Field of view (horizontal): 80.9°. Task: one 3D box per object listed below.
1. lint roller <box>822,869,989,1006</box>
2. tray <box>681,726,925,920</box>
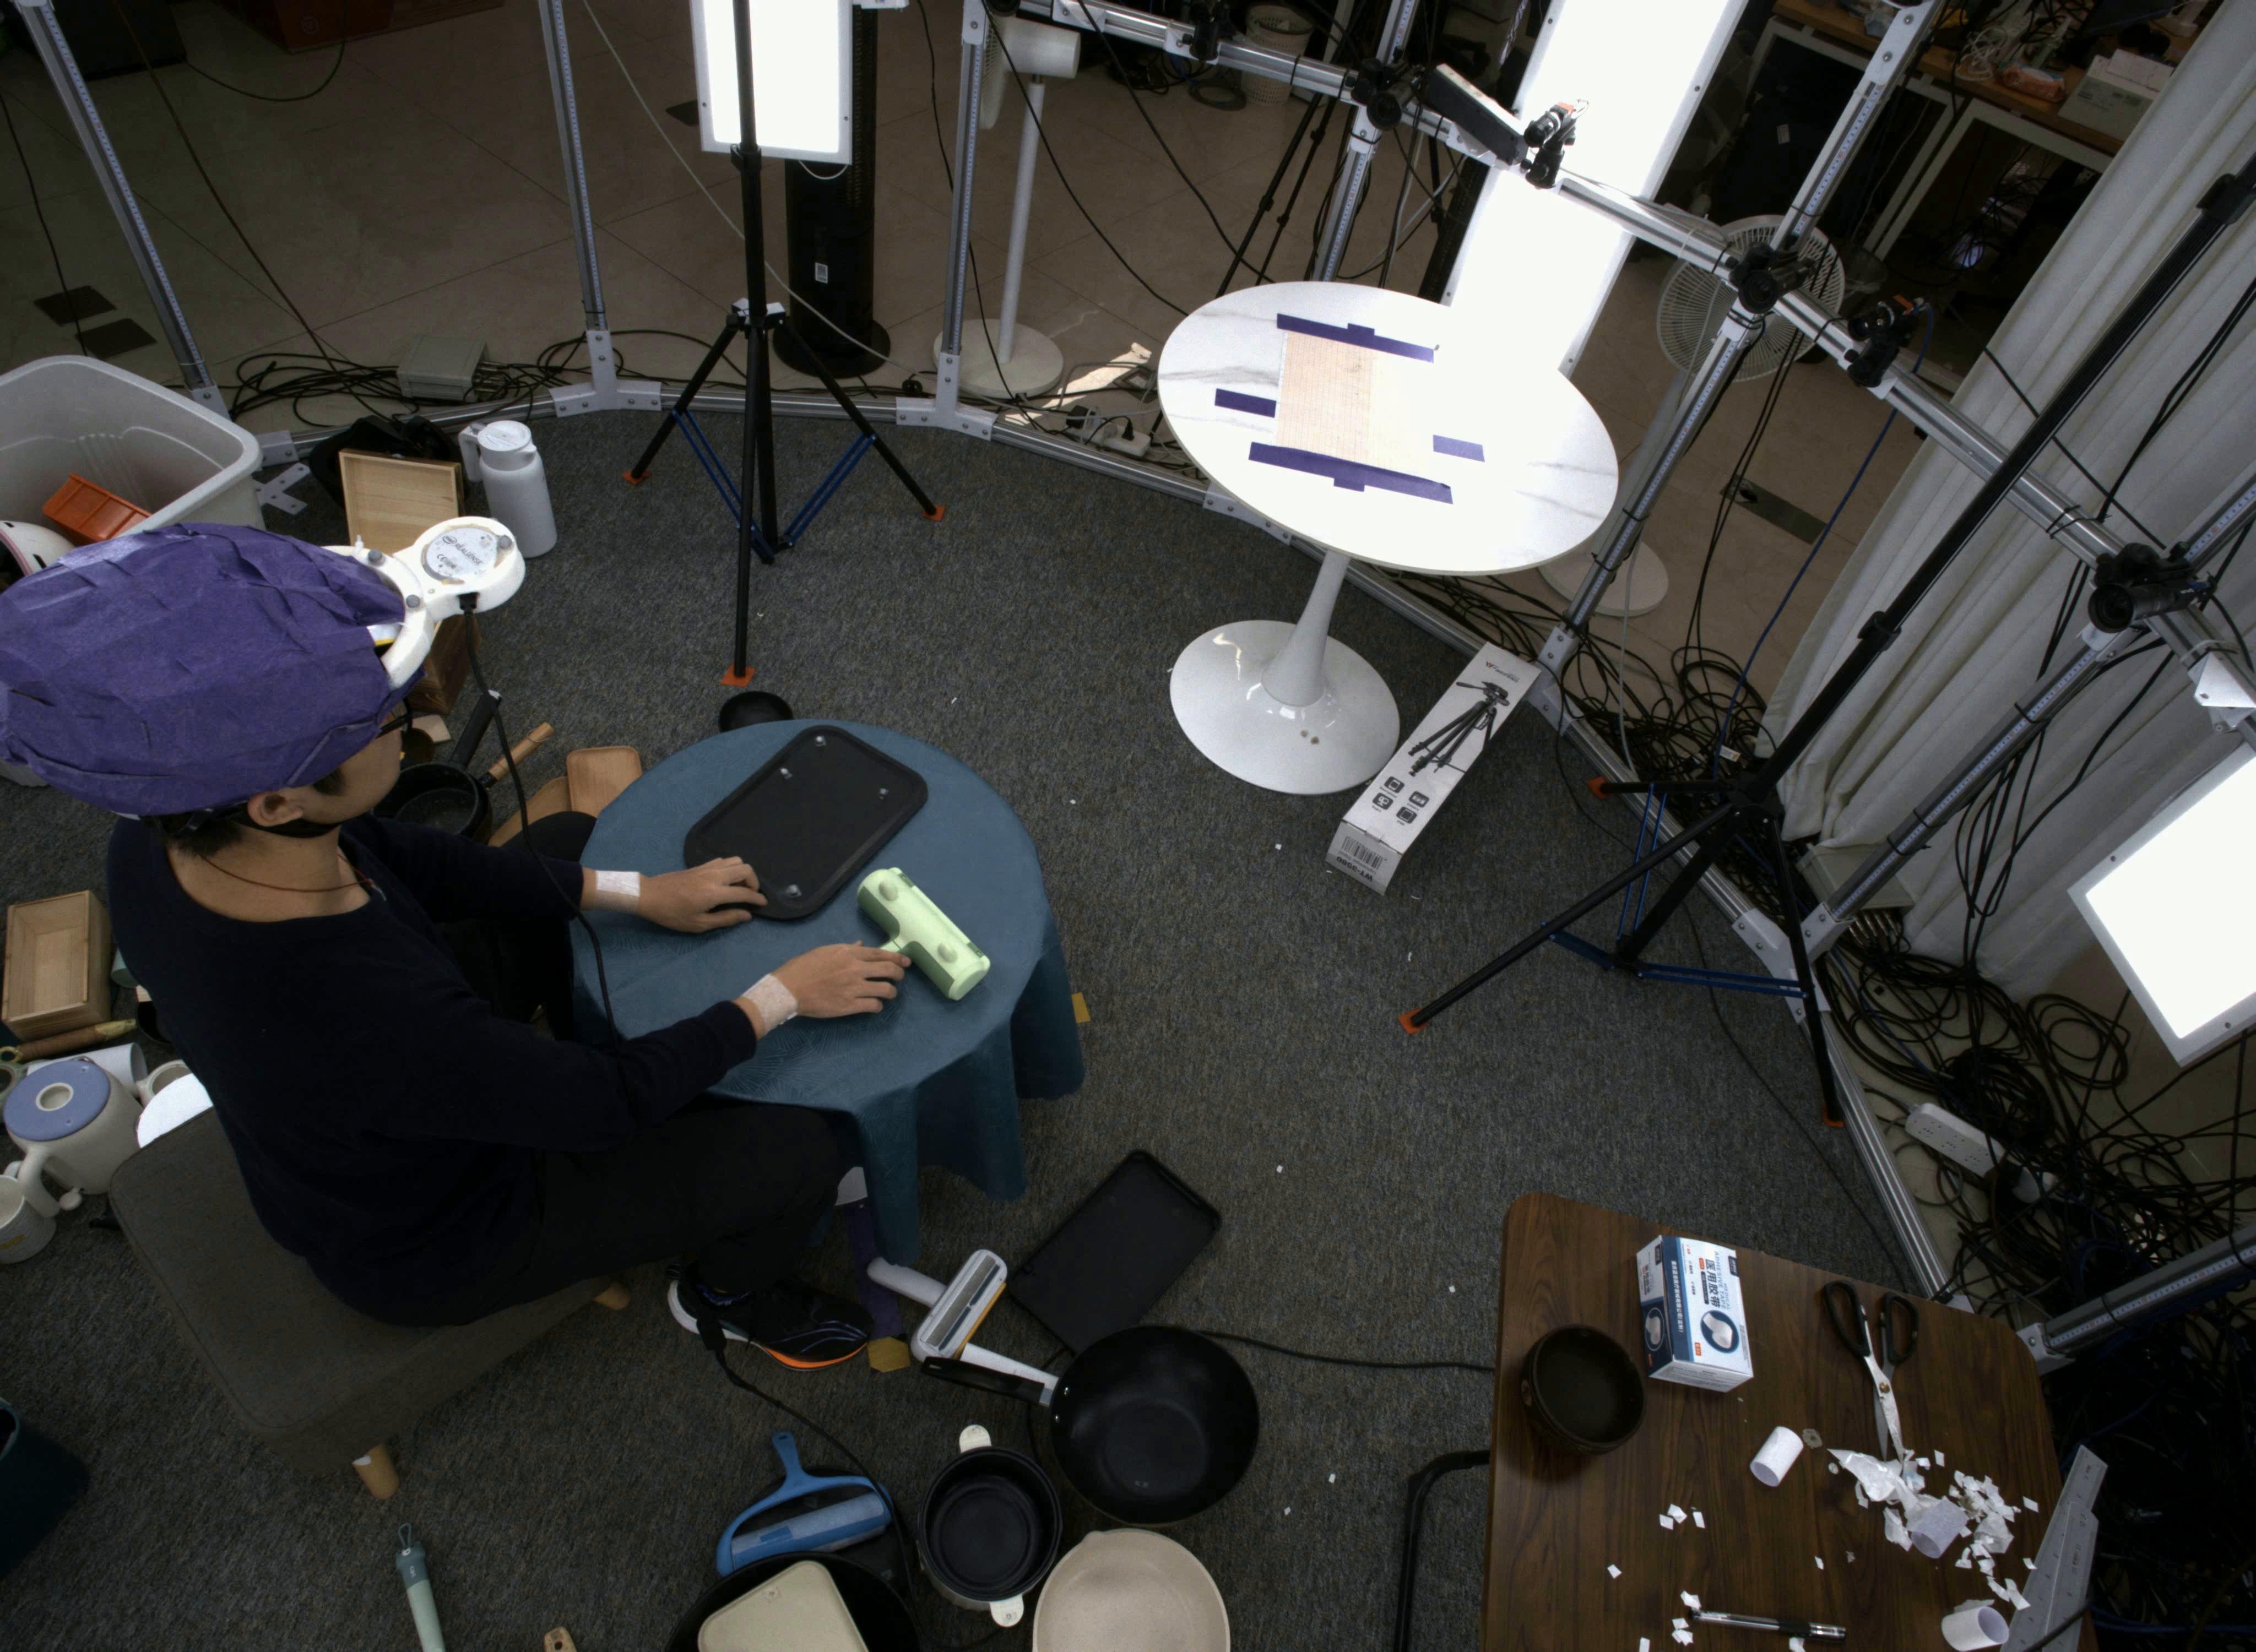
[{"bbox_3d":[-0.296,0.149,1.580,0.194,0.084,0.184,41,48,19],"label":"lint roller"},{"bbox_3d":[-0.427,-0.009,1.708,0.207,0.010,0.324,30,50,10],"label":"tray"}]
